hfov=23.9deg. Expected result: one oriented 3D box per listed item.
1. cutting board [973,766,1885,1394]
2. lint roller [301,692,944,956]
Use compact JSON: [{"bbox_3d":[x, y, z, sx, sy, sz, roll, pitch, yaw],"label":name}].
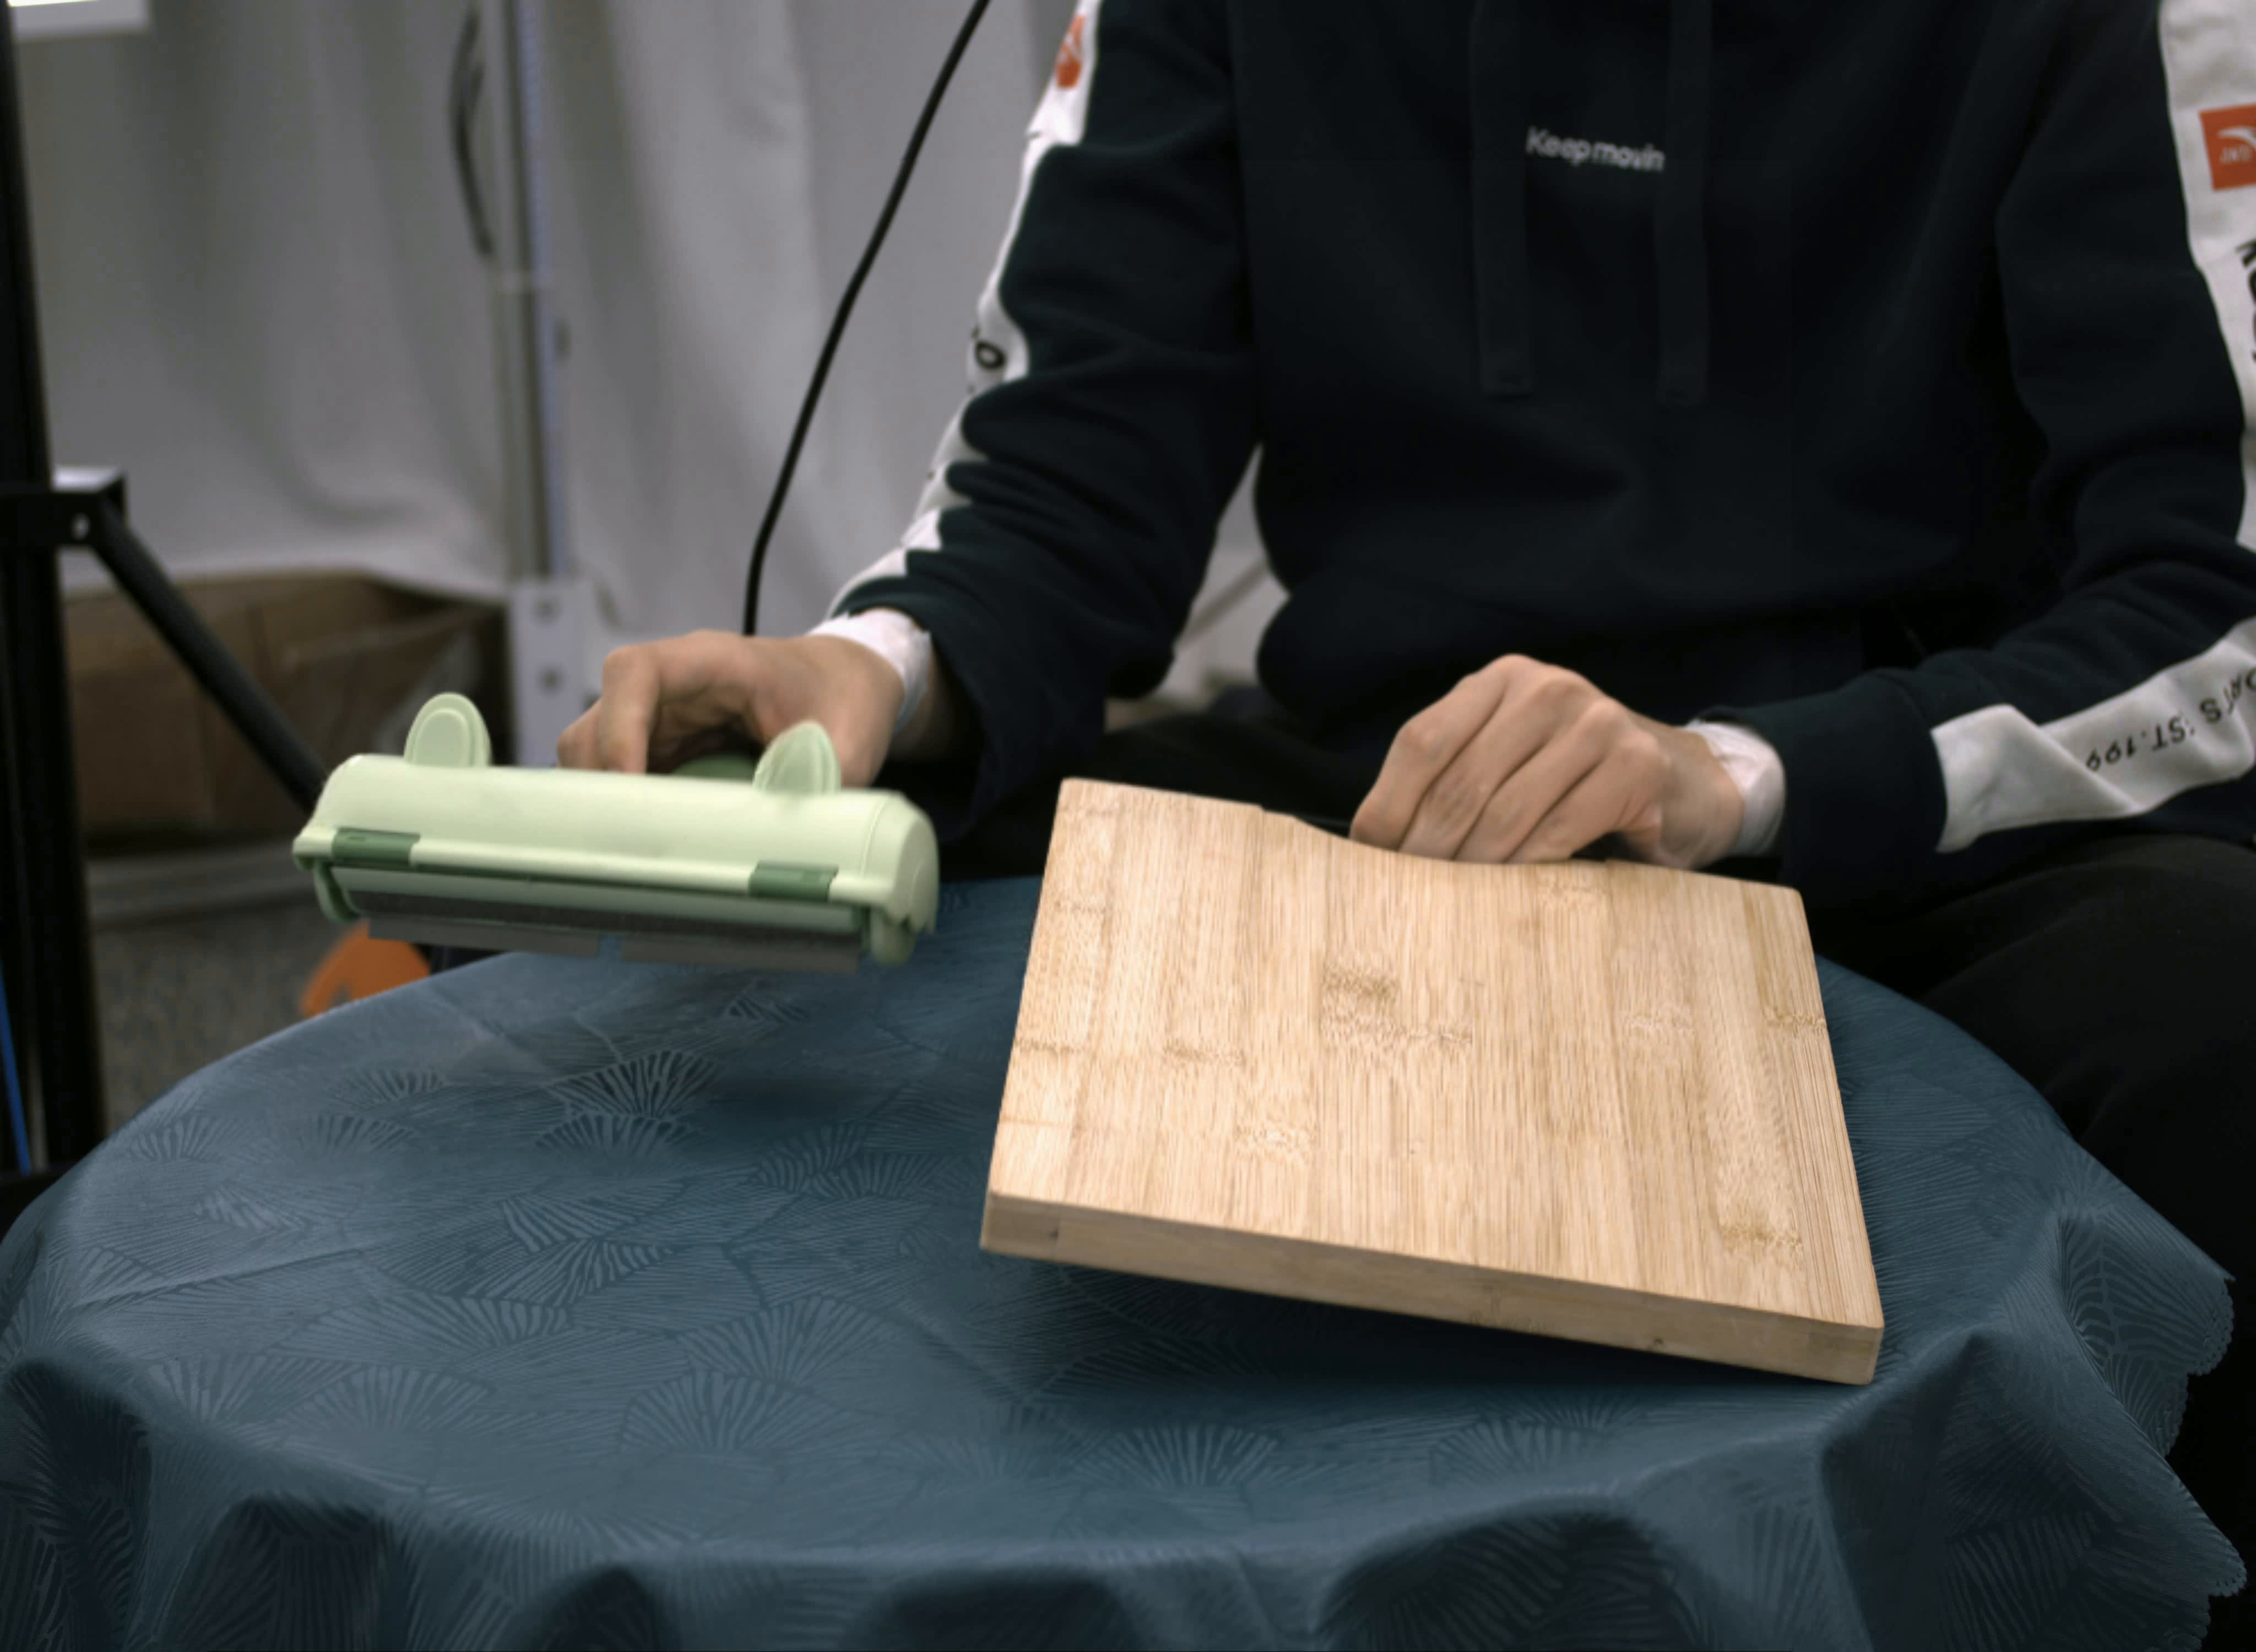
[{"bbox_3d":[0.089,0.066,1.549,0.249,0.023,0.349,9,20,0],"label":"cutting board"},{"bbox_3d":[-0.143,-0.017,1.714,0.200,0.082,0.182,3,21,16],"label":"lint roller"}]
